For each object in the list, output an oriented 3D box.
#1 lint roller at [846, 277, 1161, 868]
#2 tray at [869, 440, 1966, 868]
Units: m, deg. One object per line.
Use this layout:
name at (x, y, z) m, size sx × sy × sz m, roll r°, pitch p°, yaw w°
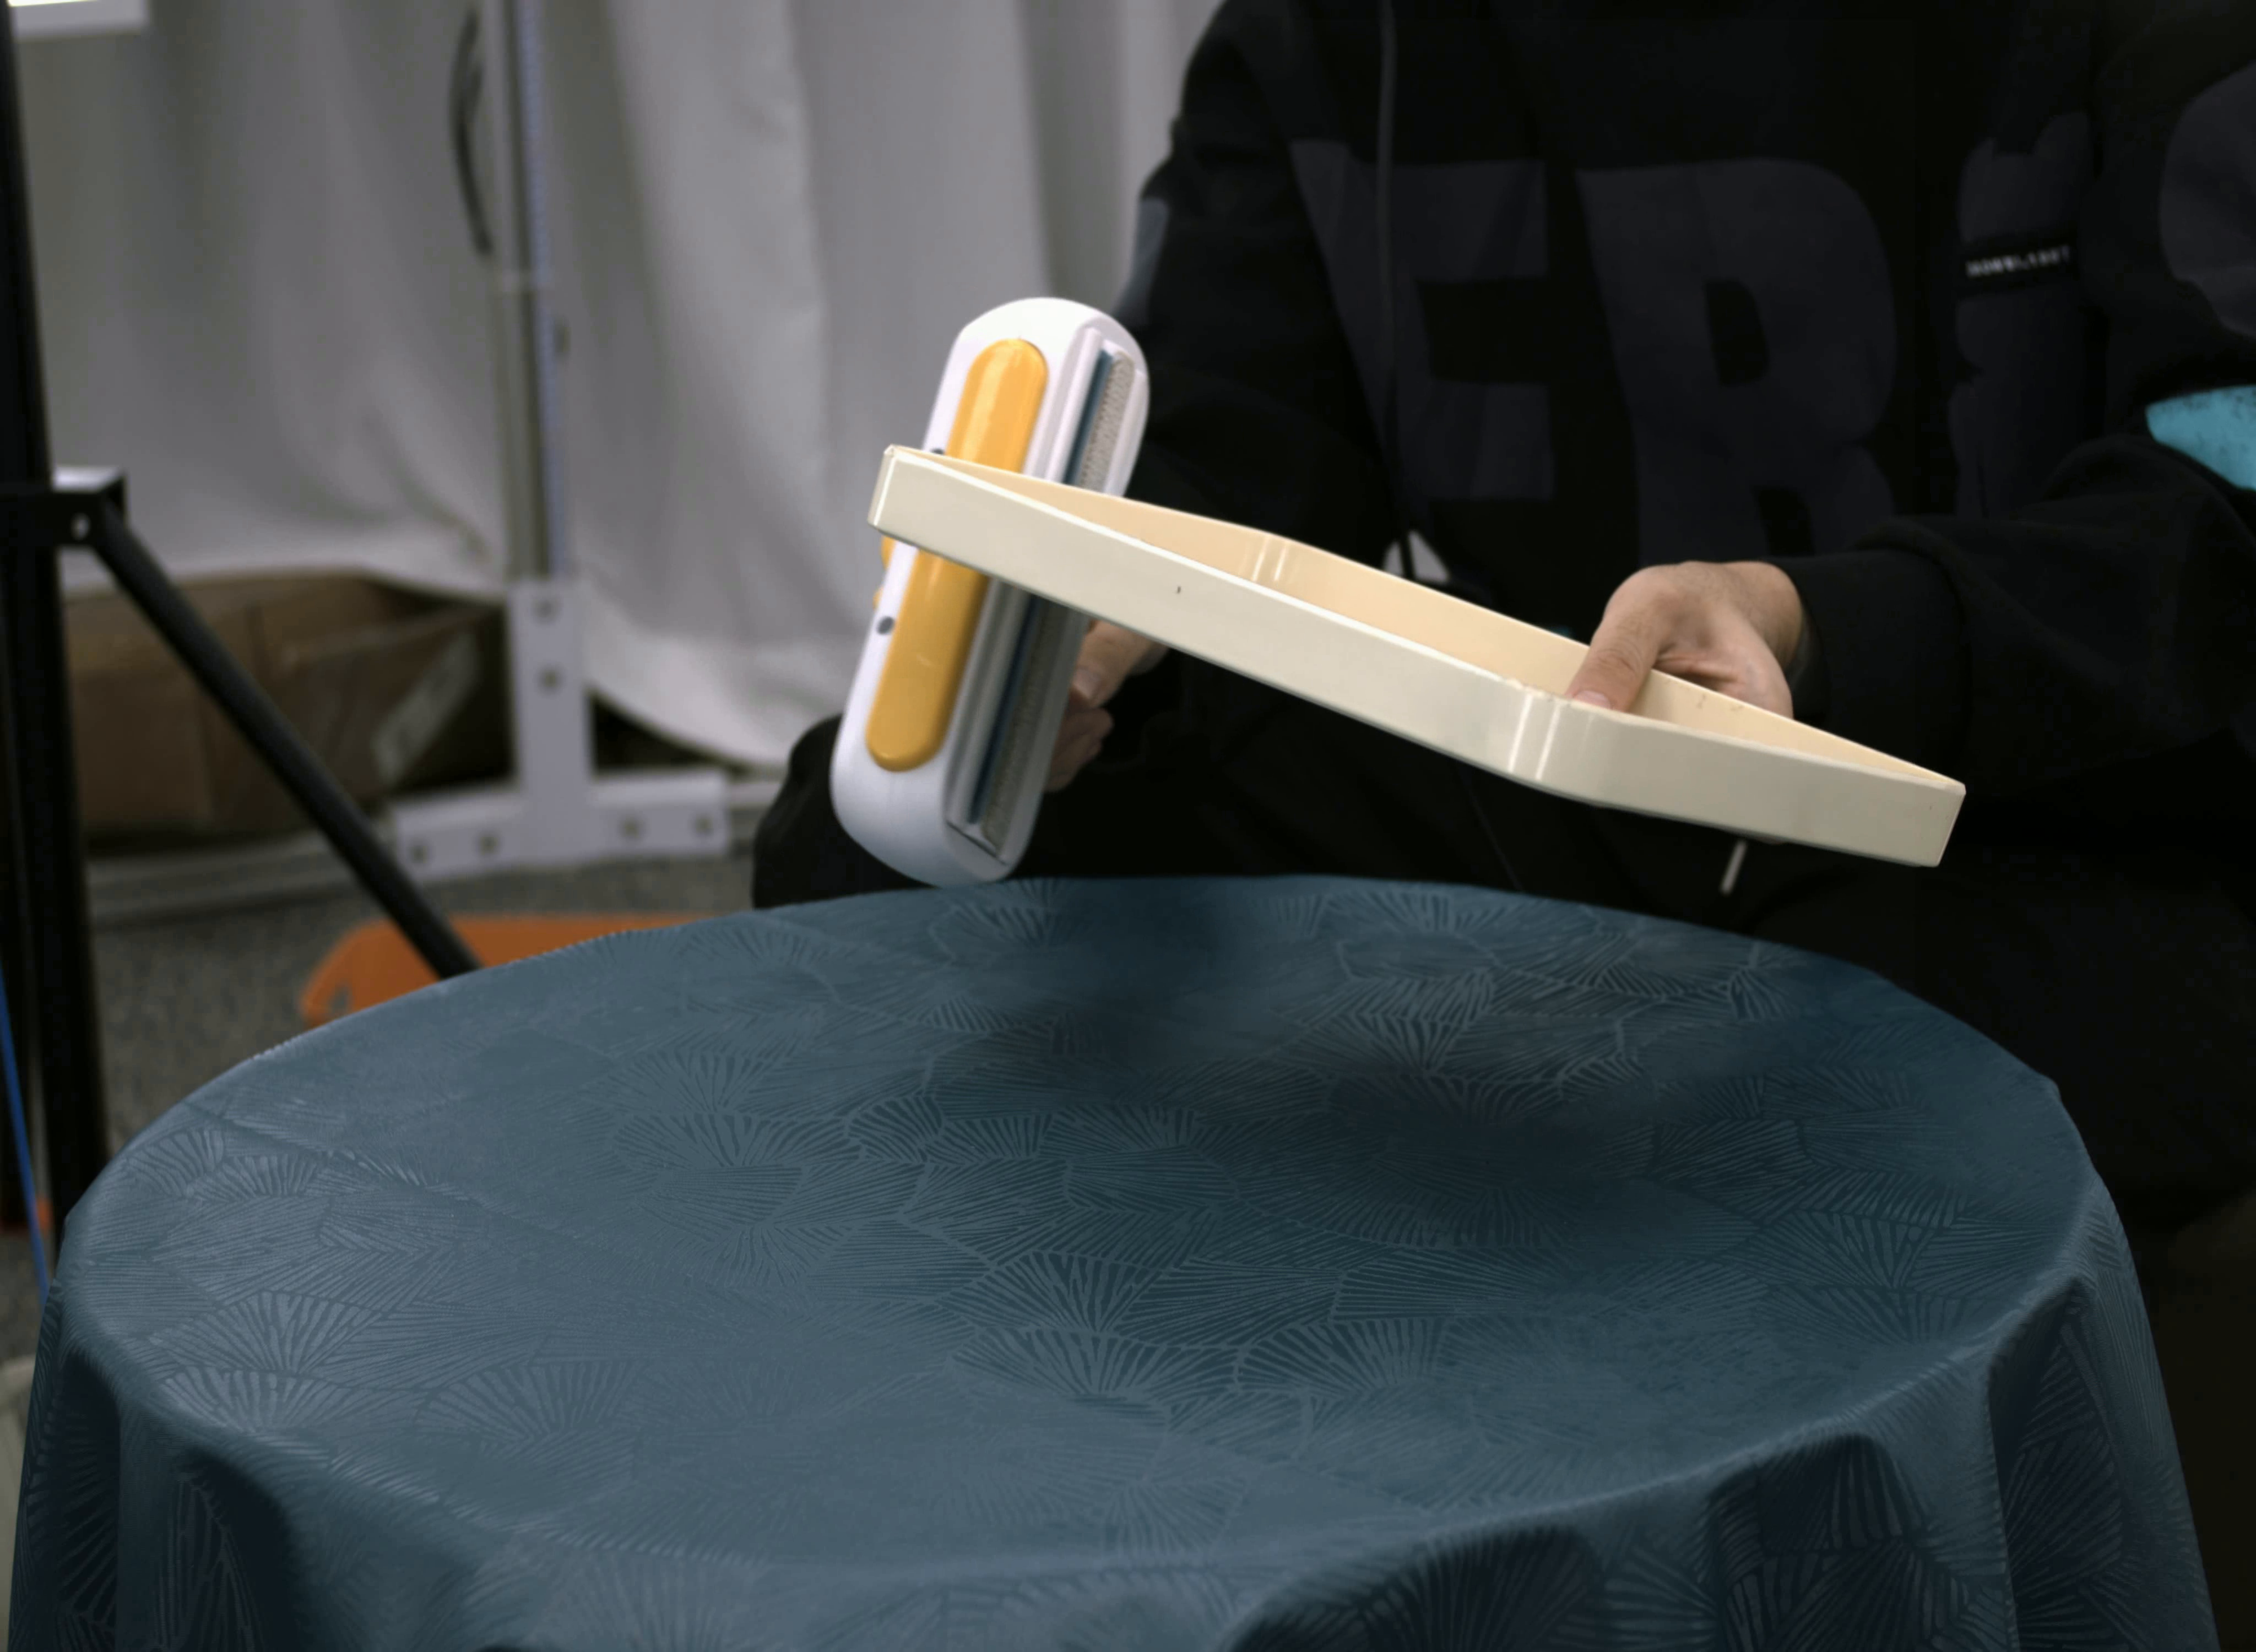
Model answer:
lint roller at (-0.028, -0.060, 1.748) m, size 0.075 × 0.194 × 0.189 m, roll 4°, pitch -21°, yaw 21°
tray at (0.081, -0.051, 1.560) m, size 0.186 × 0.027 × 0.307 m, roll 11°, pitch 8°, yaw -45°
